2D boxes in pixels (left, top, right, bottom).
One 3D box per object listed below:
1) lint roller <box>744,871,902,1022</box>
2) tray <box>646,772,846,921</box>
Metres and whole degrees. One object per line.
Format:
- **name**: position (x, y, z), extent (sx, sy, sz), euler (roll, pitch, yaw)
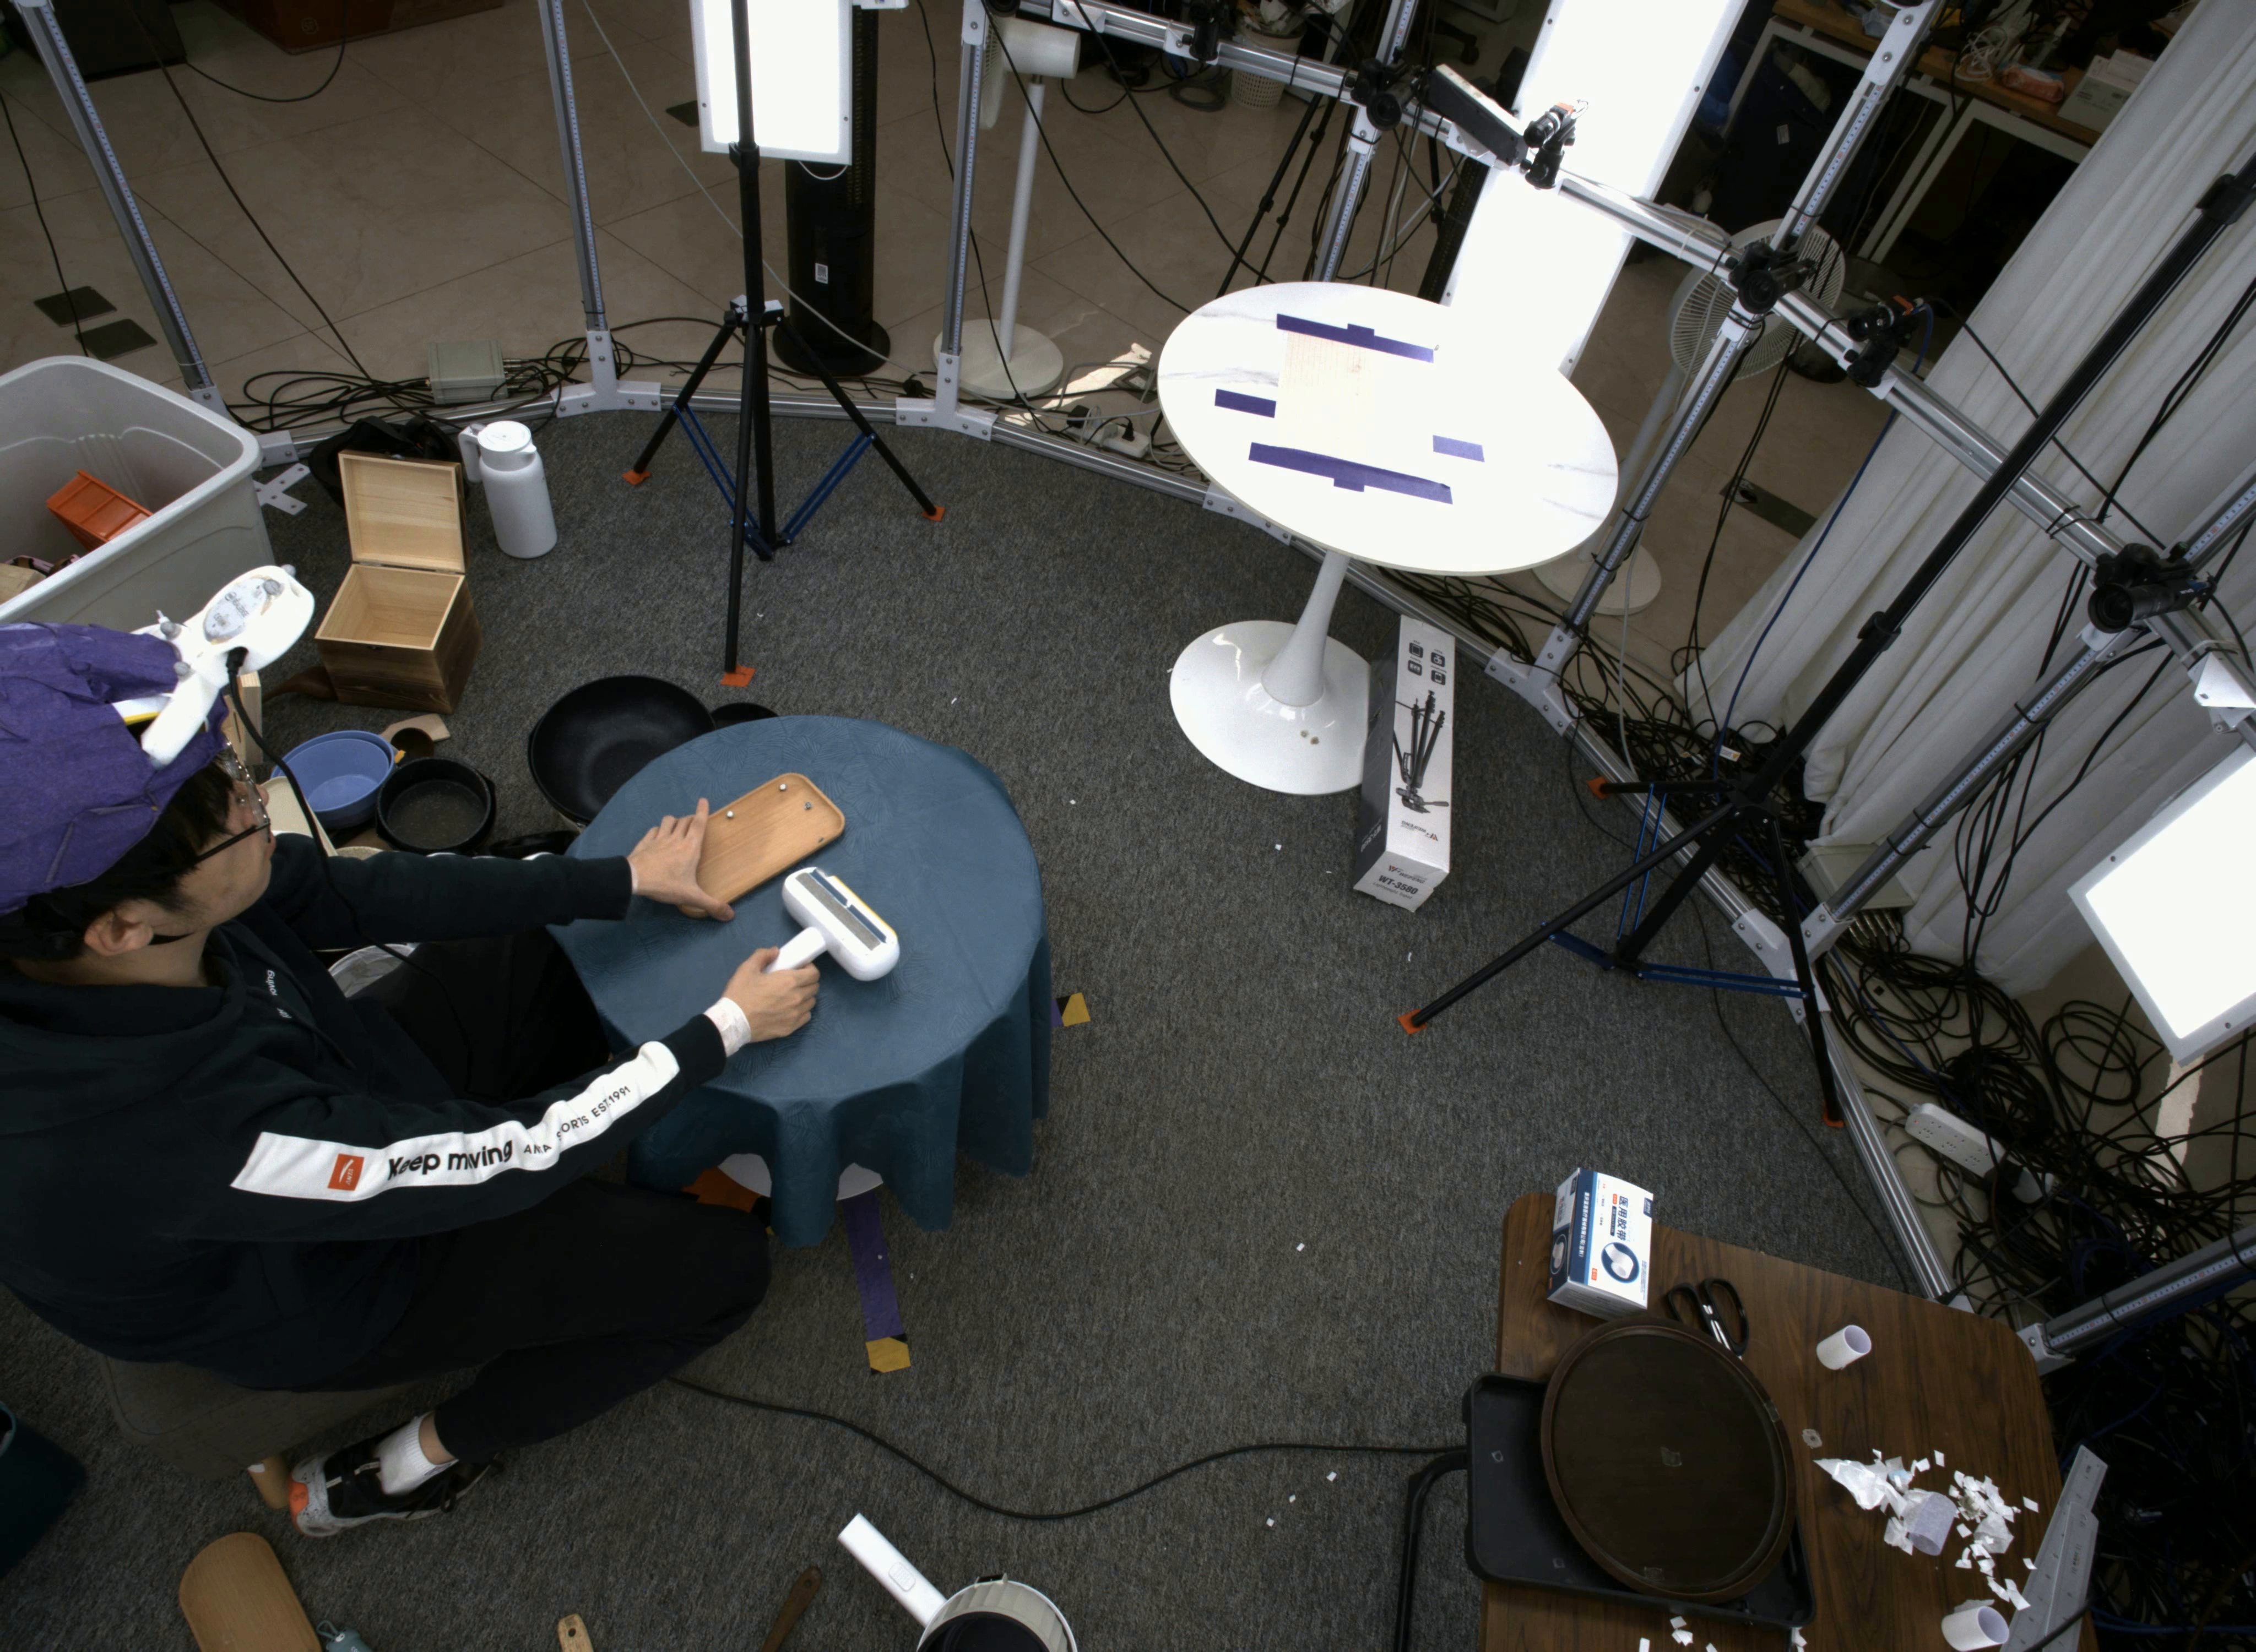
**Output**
- **lint roller**: position (-0.394, 0.162, 1.597), extent (0.192, 0.076, 0.186), euler (-36, 59, -17)
- **tray**: position (-0.495, 0.023, 1.684), extent (0.127, 0.023, 0.251), euler (42, 55, 19)
